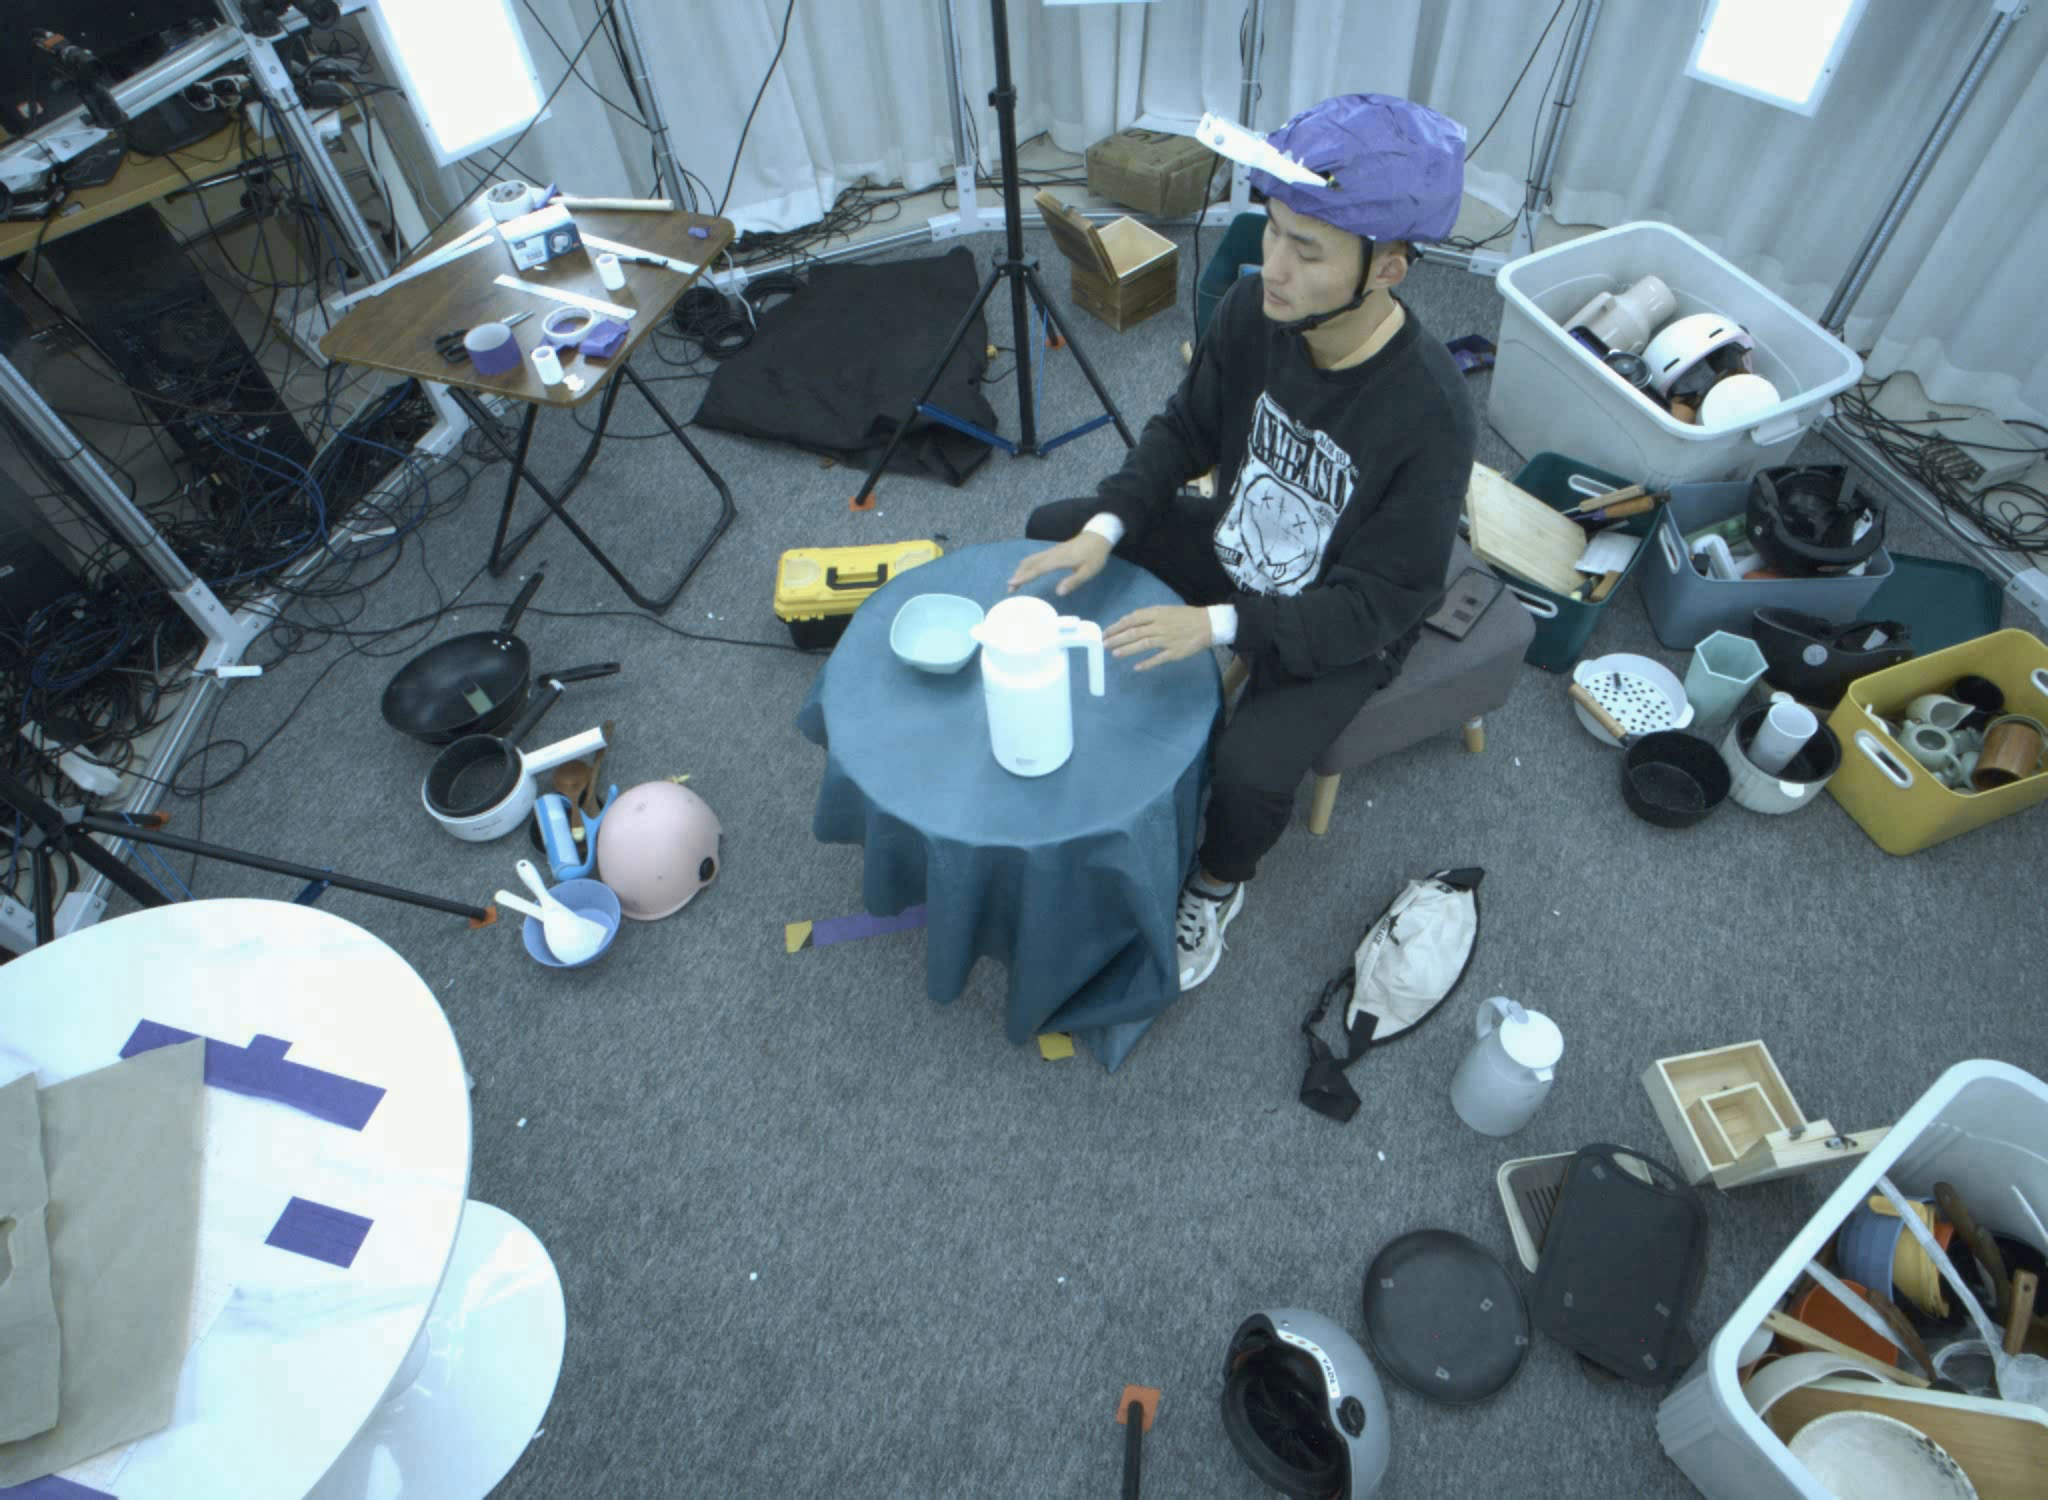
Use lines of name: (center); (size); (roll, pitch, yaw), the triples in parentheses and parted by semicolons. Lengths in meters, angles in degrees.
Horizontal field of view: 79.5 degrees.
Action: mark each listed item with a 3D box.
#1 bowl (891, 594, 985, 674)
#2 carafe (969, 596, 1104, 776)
bowl: (-0.129, -0.168, 1.875); (0.151, 0.059, 0.150); (0, 55, 2)
carafe: (0.022, -0.086, 1.679); (0.173, 0.272, 0.122); (-5, 52, 0)
